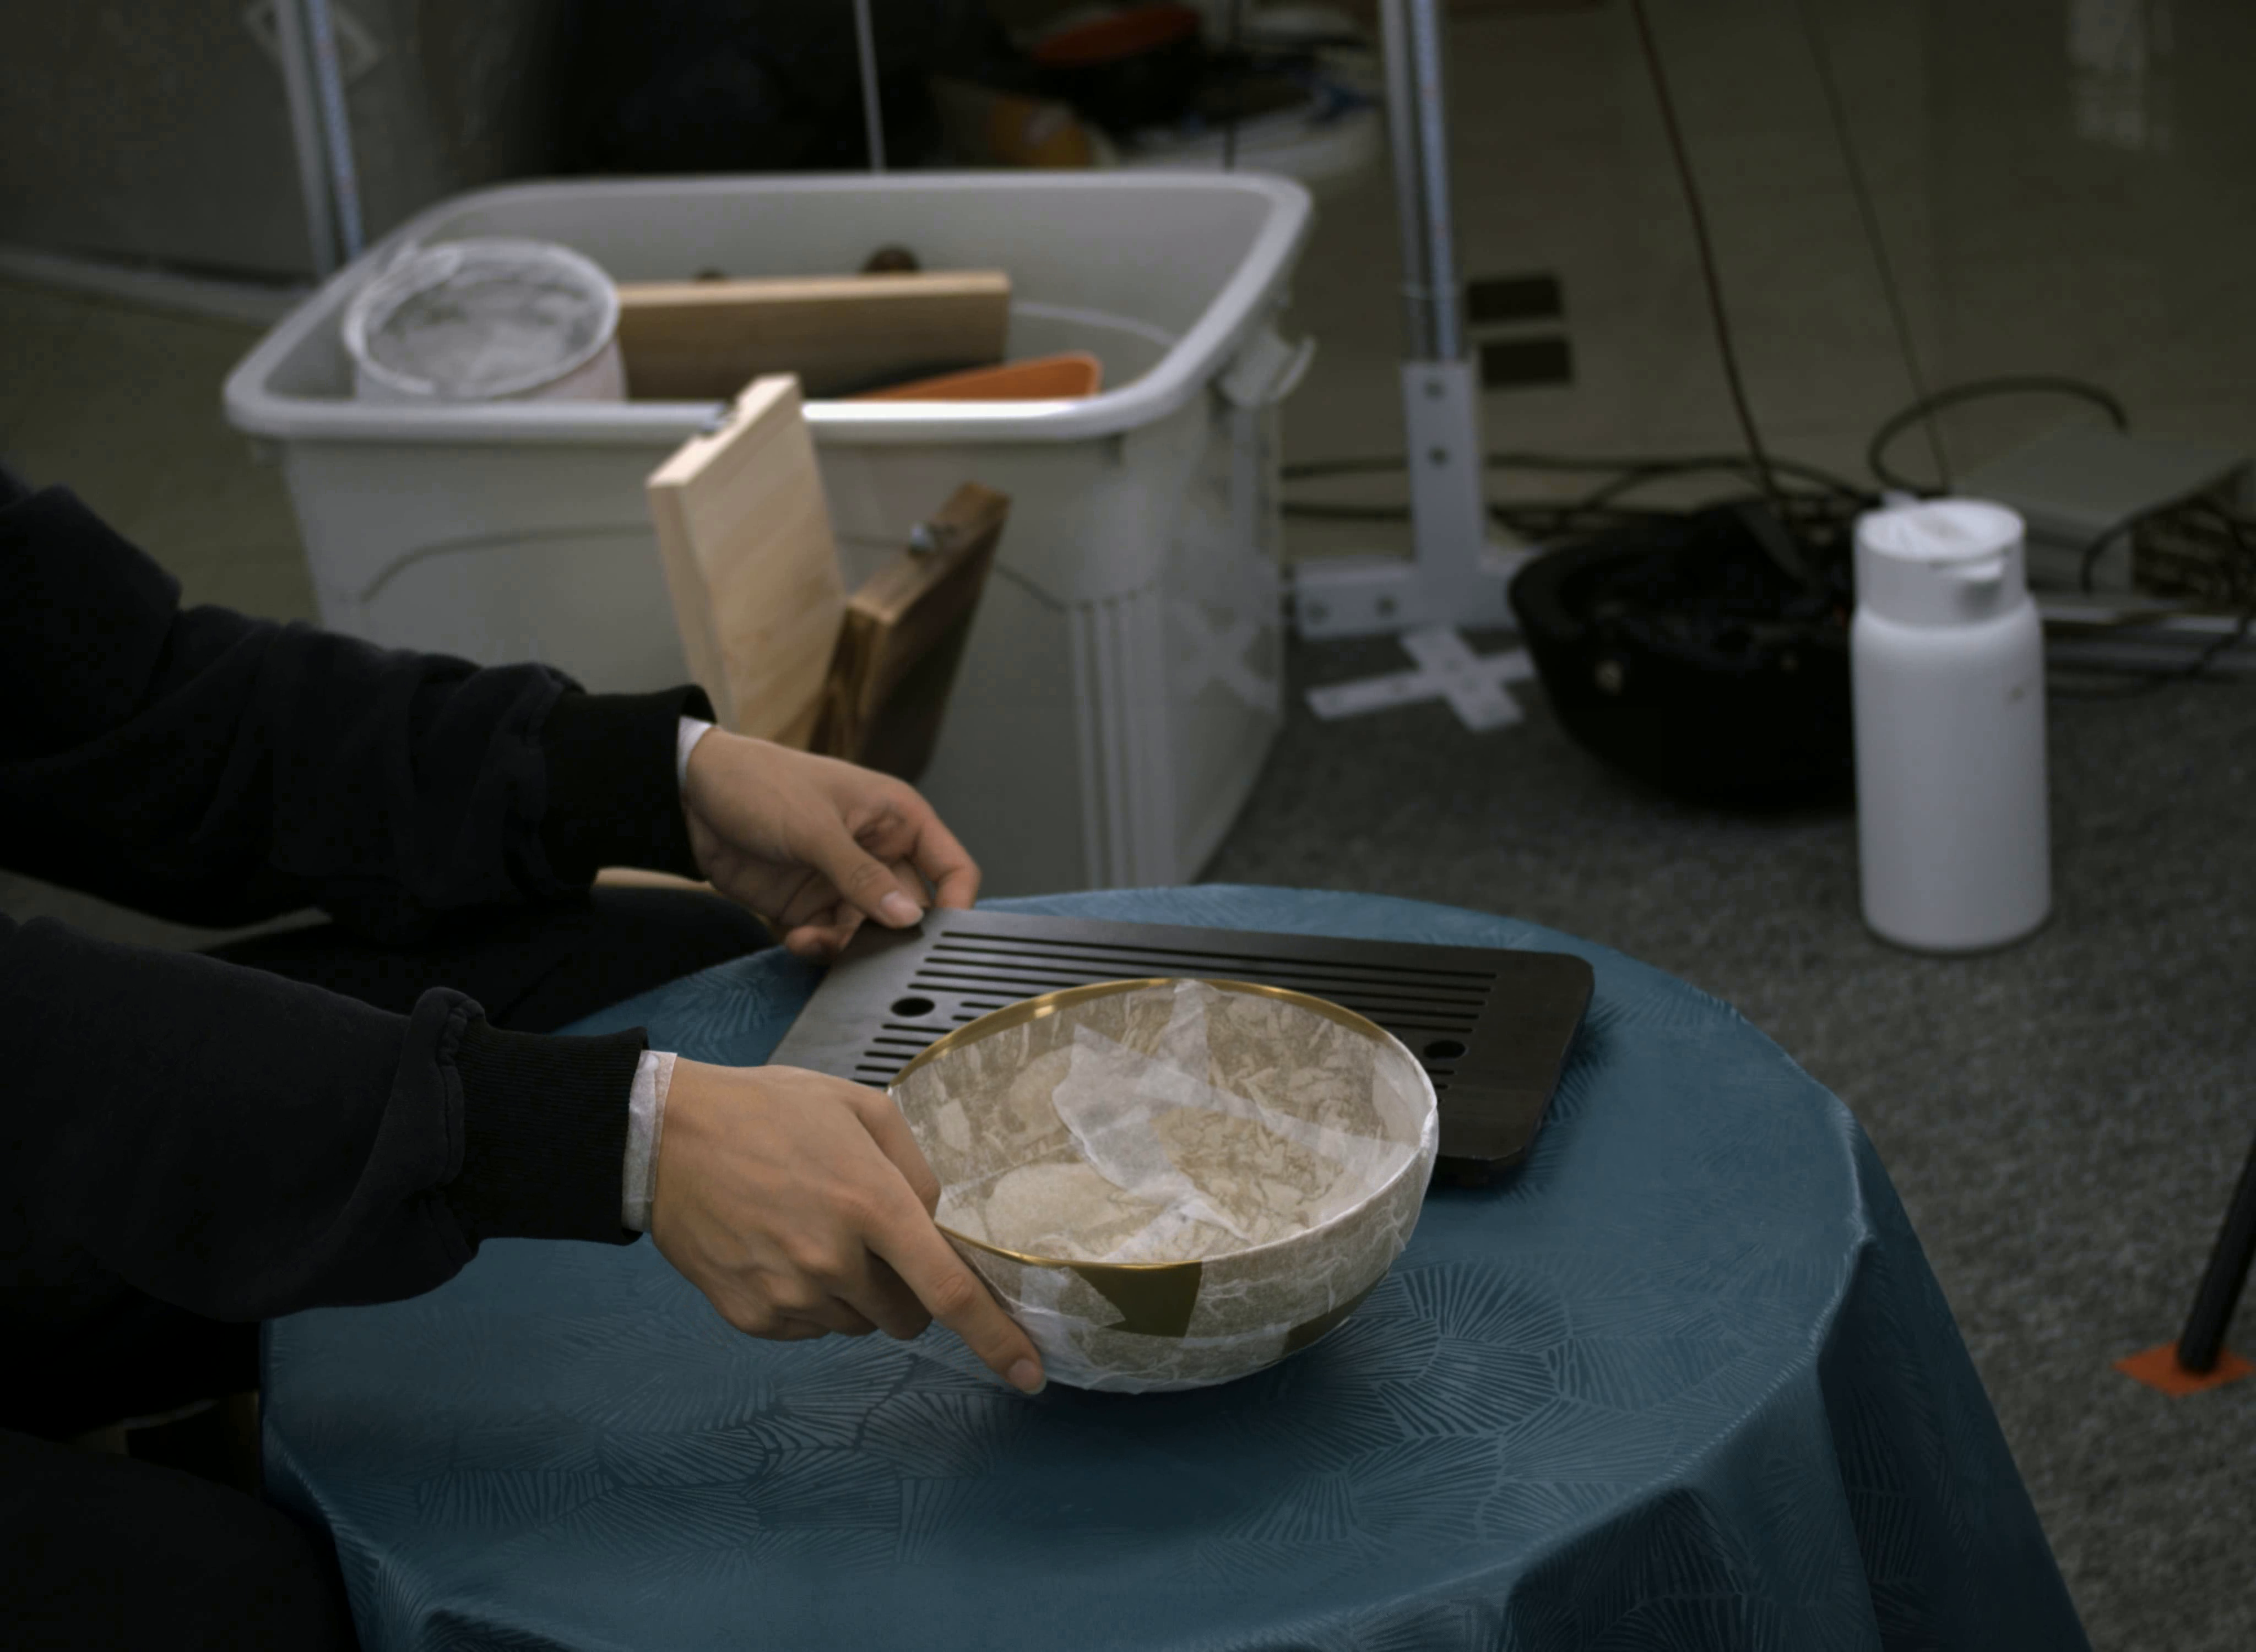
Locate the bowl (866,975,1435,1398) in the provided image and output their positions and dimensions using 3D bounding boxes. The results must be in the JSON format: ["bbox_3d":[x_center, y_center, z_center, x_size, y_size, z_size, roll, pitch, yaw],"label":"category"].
[{"bbox_3d":[0.008,0.141,2.030,0.214,0.096,0.211,-4,29,2],"label":"bowl"}]

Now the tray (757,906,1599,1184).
[{"bbox_3d":[0.022,0.085,2.225,0.305,0.019,0.168,4,27,15],"label":"tray"}]
